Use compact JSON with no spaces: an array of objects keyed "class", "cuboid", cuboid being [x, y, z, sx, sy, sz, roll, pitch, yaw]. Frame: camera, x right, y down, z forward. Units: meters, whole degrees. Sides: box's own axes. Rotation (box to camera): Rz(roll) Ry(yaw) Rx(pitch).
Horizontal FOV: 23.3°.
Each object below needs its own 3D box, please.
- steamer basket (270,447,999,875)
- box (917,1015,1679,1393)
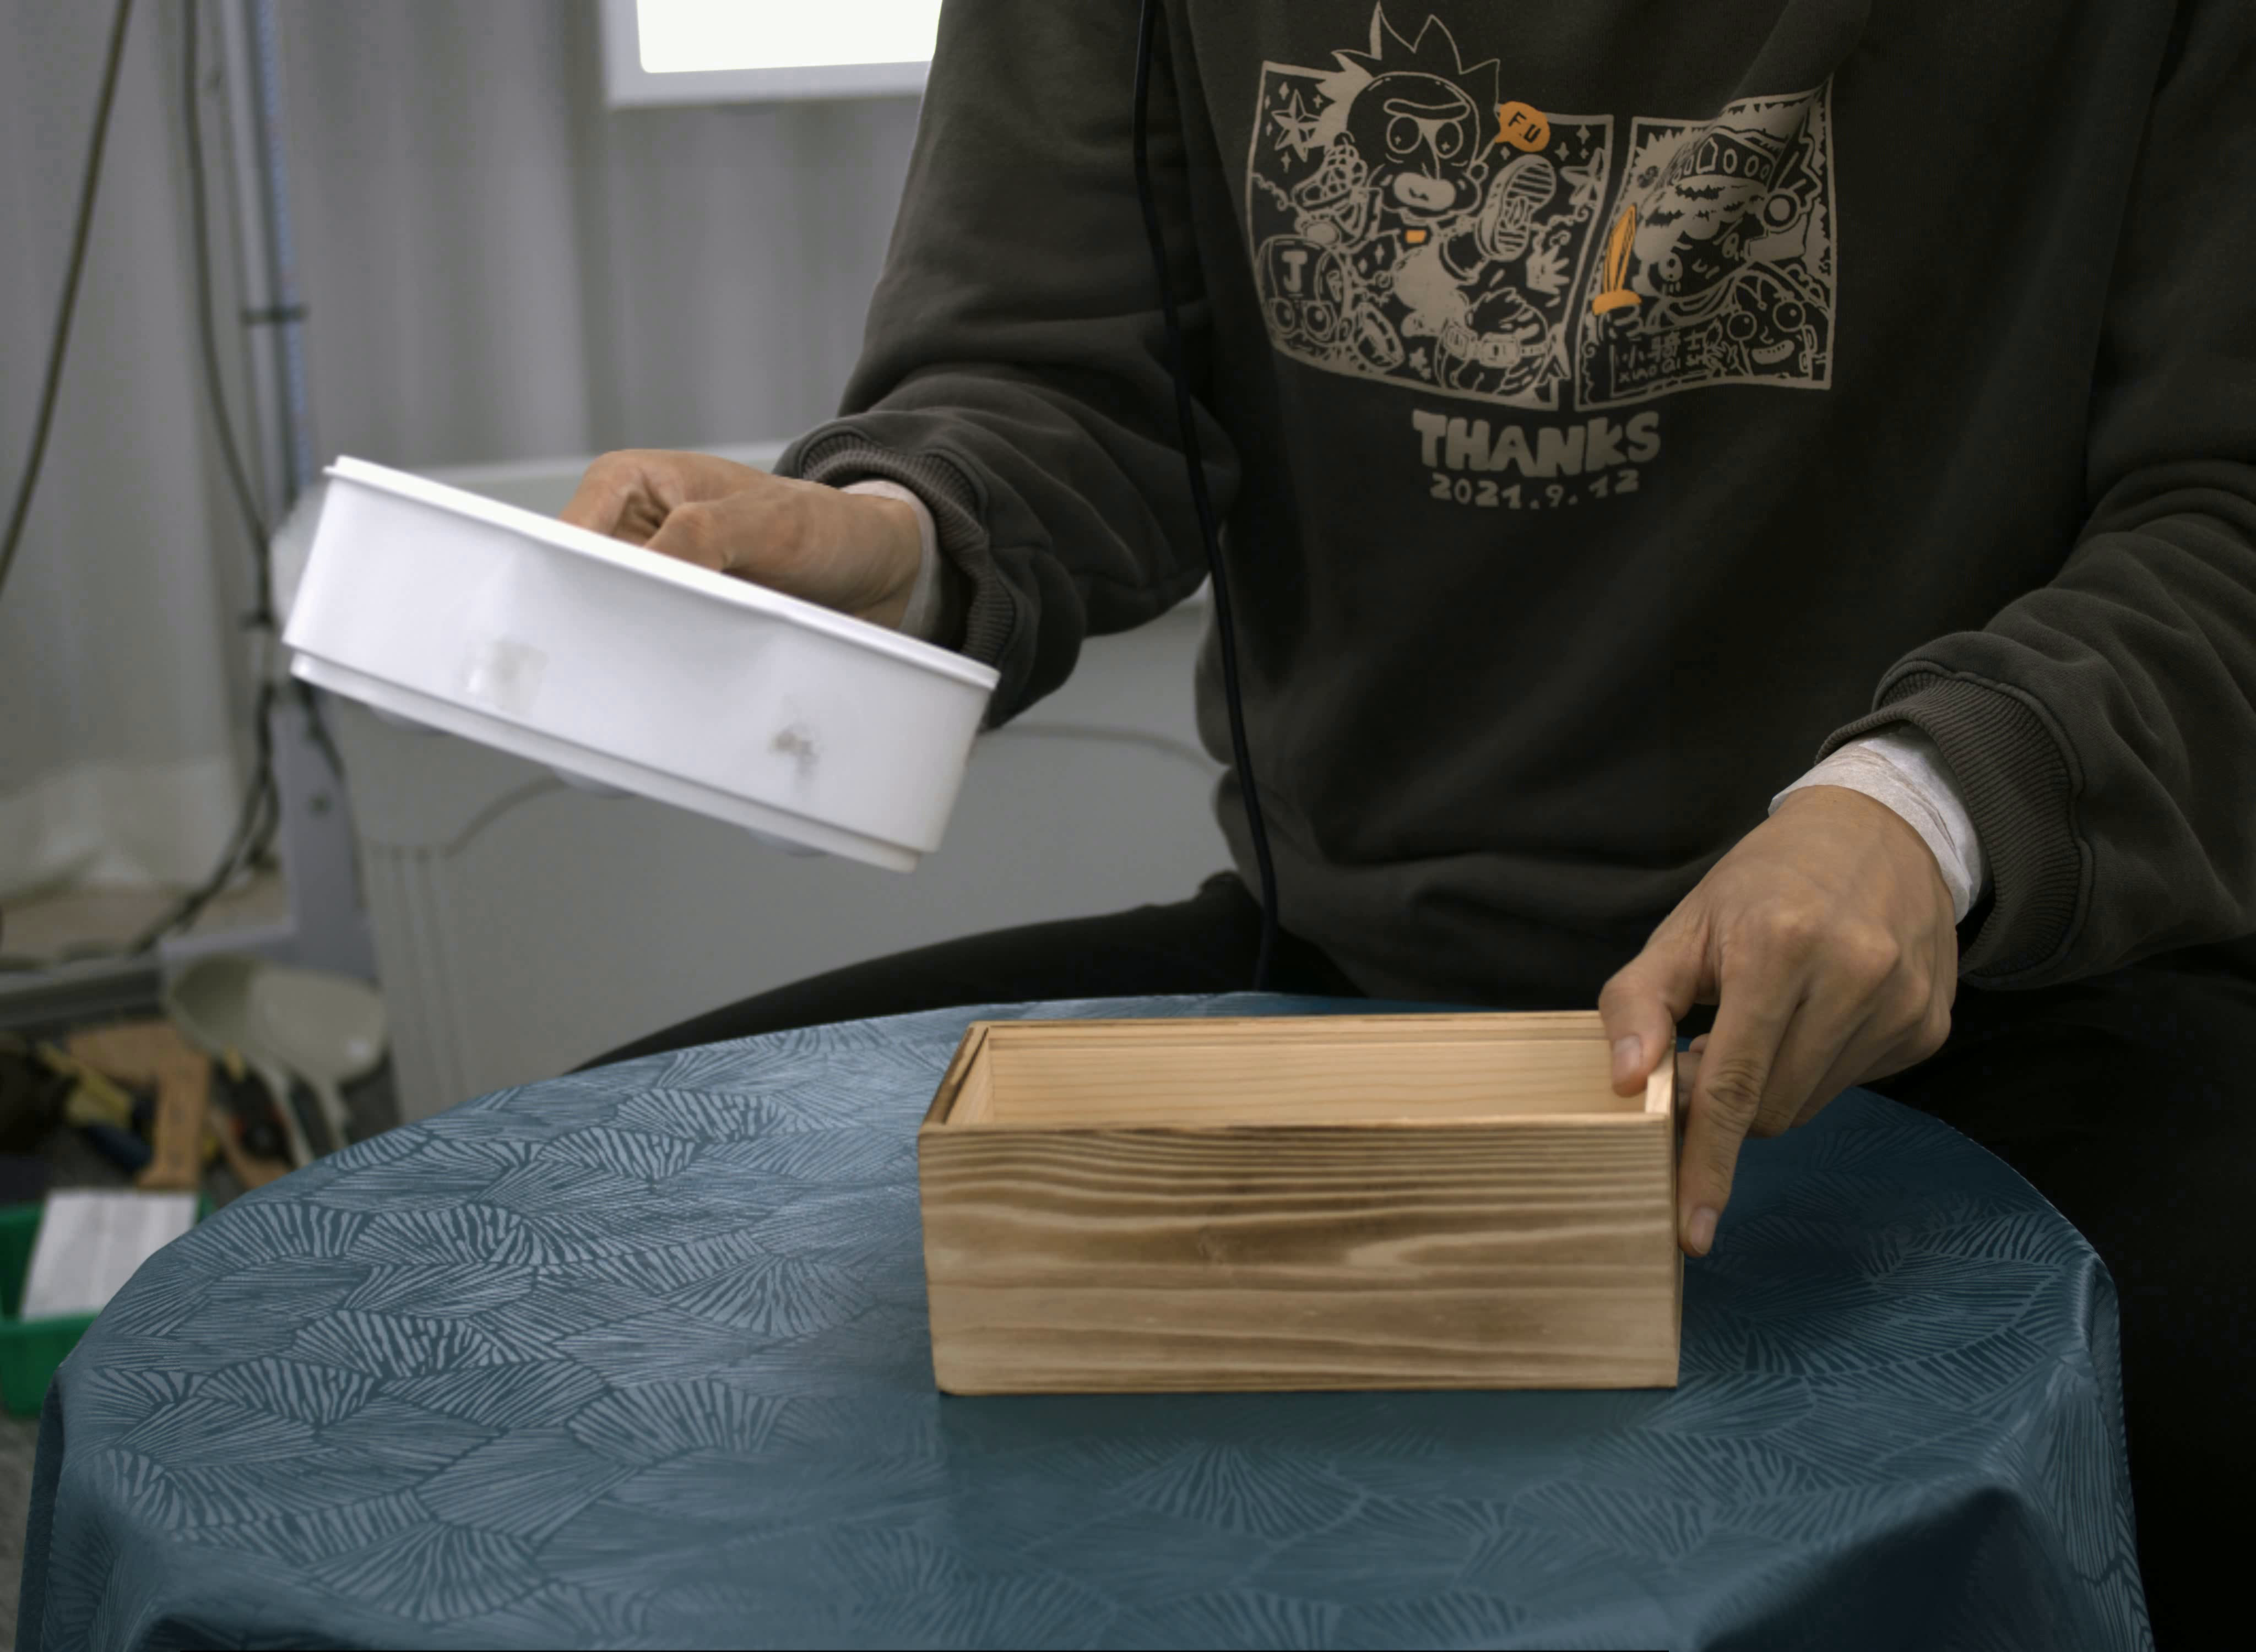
[{"class":"steamer basket","cuboid":[-0.140,-0.043,1.544,0.201,0.069,0.230,18,-1,-3]},{"class":"box","cuboid":[0.052,0.109,1.582,0.211,0.080,0.108,-1,14,7]}]
